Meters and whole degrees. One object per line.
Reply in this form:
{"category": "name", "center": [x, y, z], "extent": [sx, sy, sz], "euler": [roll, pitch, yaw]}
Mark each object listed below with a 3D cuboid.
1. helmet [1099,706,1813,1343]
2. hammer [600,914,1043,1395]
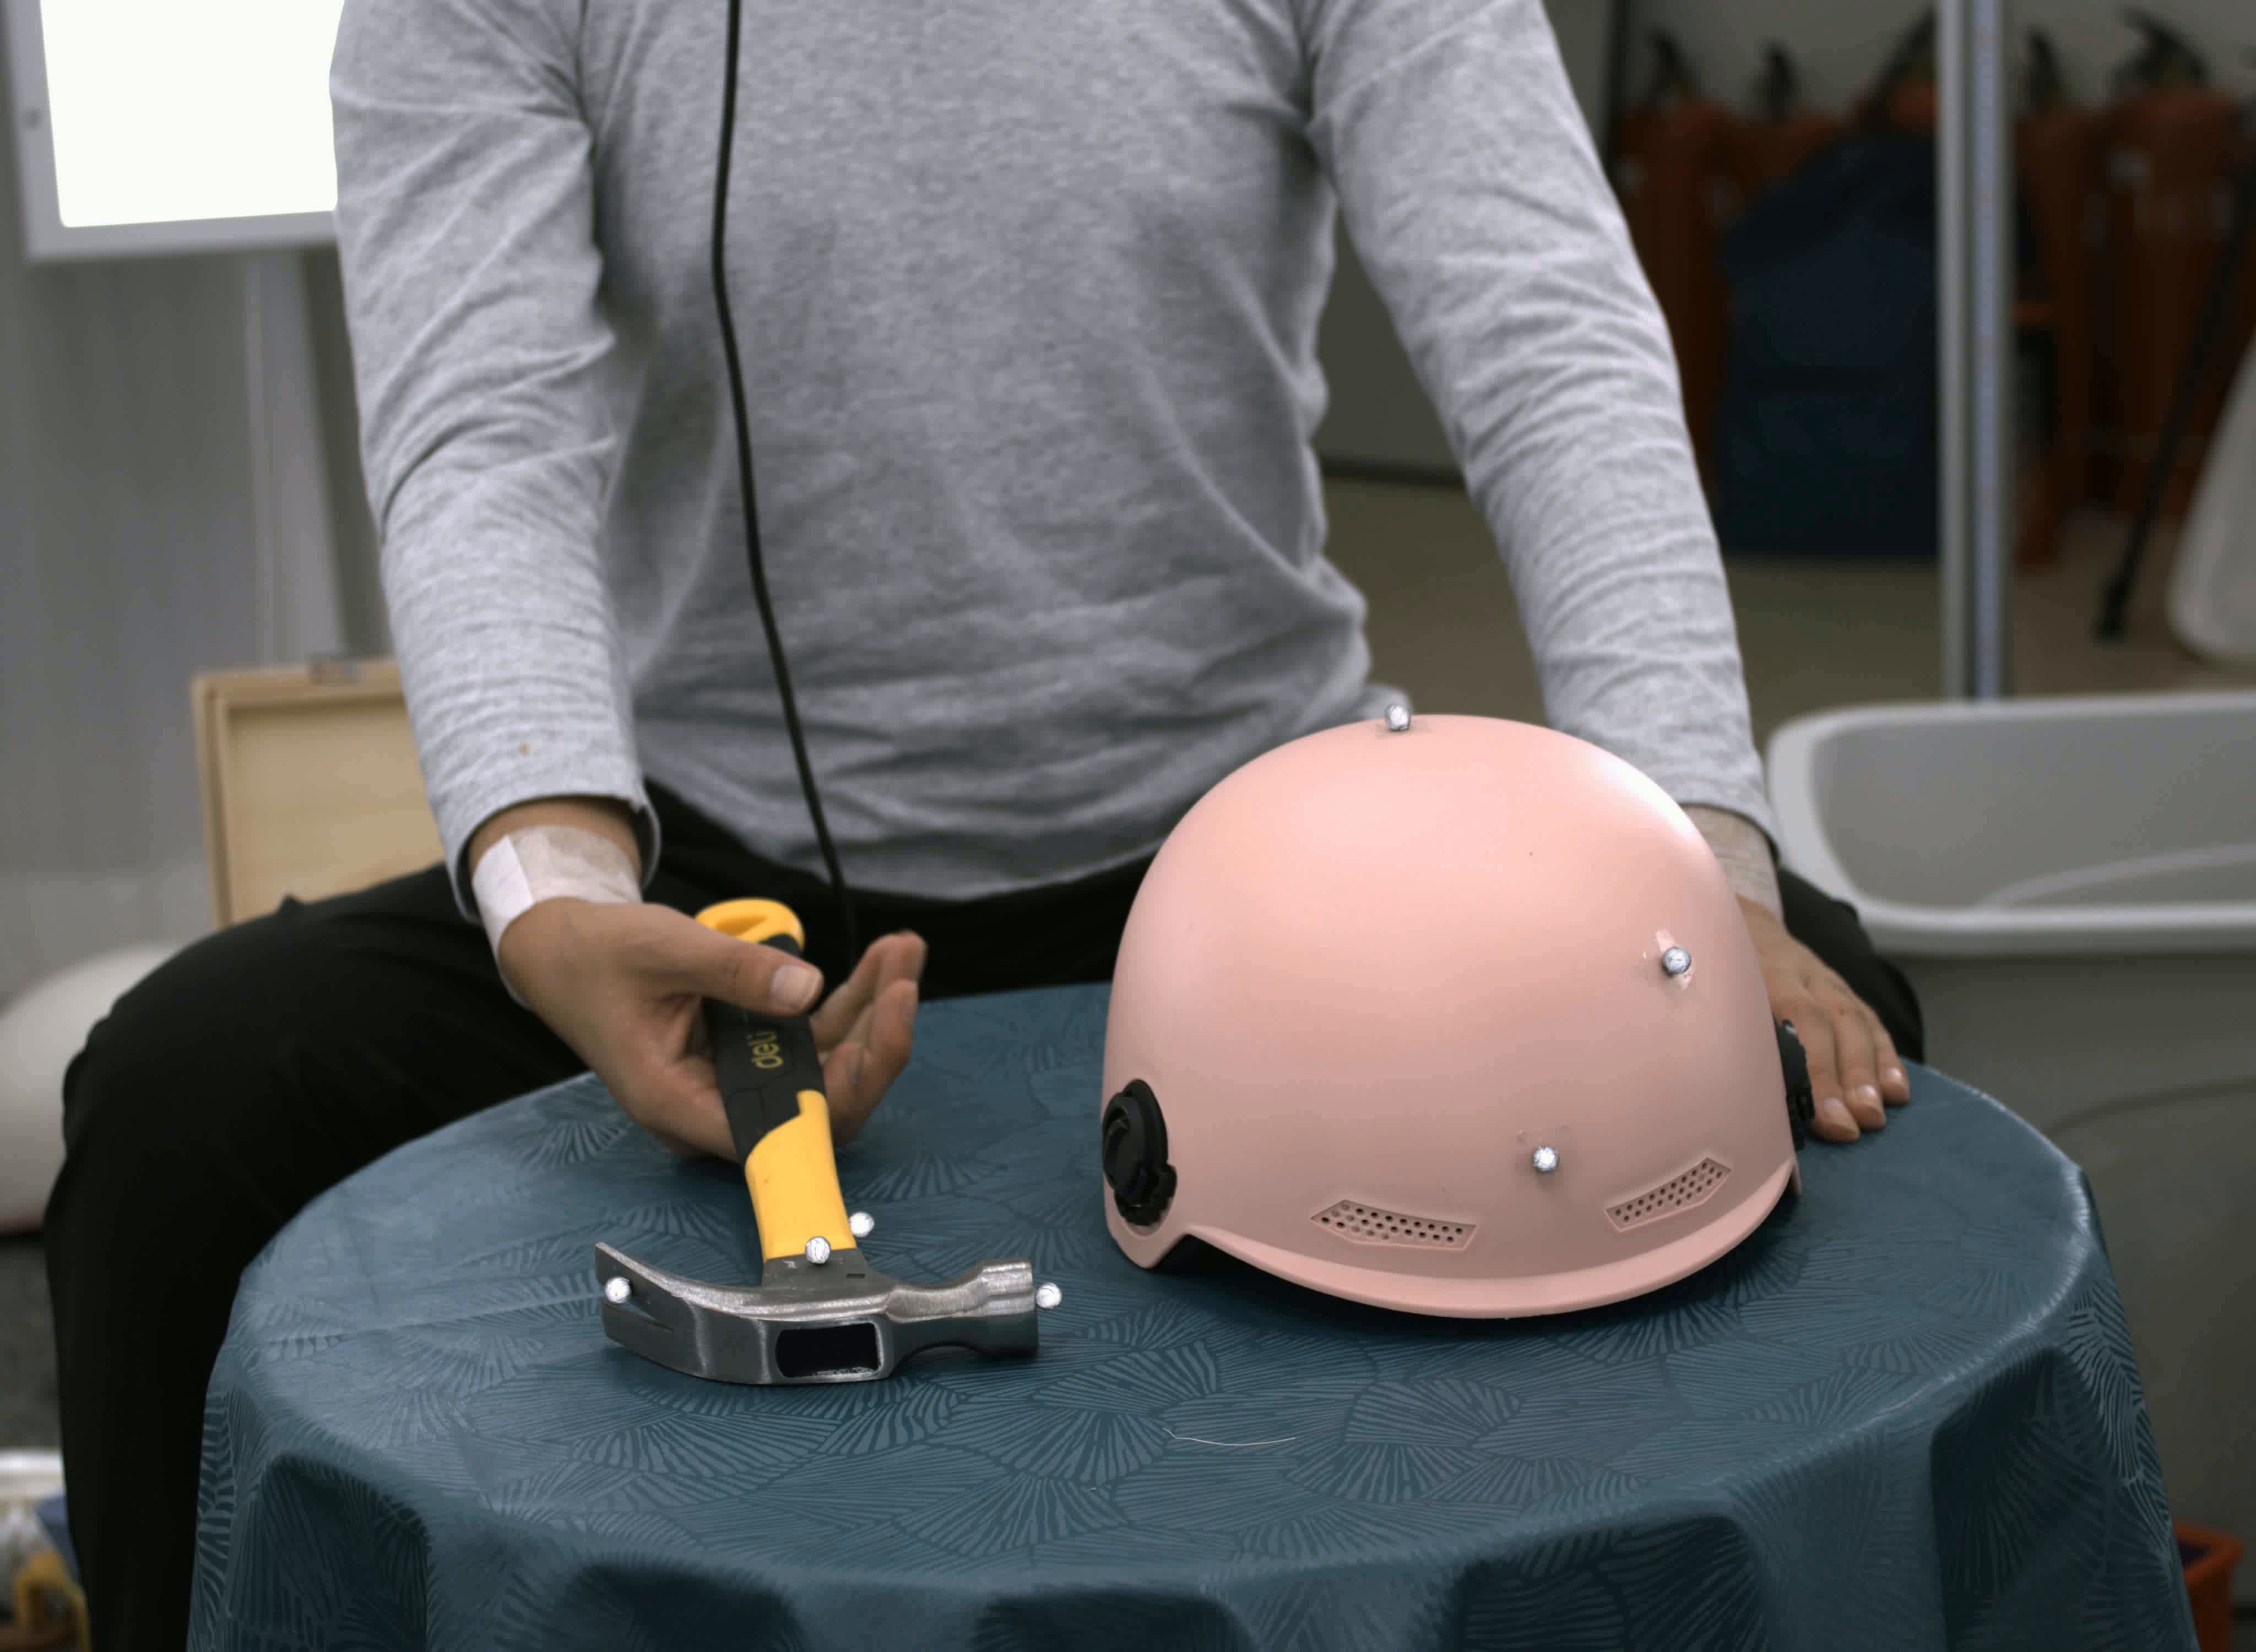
{"category": "helmet", "center": [0.099, 0.050, 1.717], "extent": [0.230, 0.160, 0.268], "euler": [-6, 18, -9]}
{"category": "hammer", "center": [-0.111, 0.099, 1.762], "extent": [0.129, 0.032, 0.340], "euler": [-8, 21, -5]}
